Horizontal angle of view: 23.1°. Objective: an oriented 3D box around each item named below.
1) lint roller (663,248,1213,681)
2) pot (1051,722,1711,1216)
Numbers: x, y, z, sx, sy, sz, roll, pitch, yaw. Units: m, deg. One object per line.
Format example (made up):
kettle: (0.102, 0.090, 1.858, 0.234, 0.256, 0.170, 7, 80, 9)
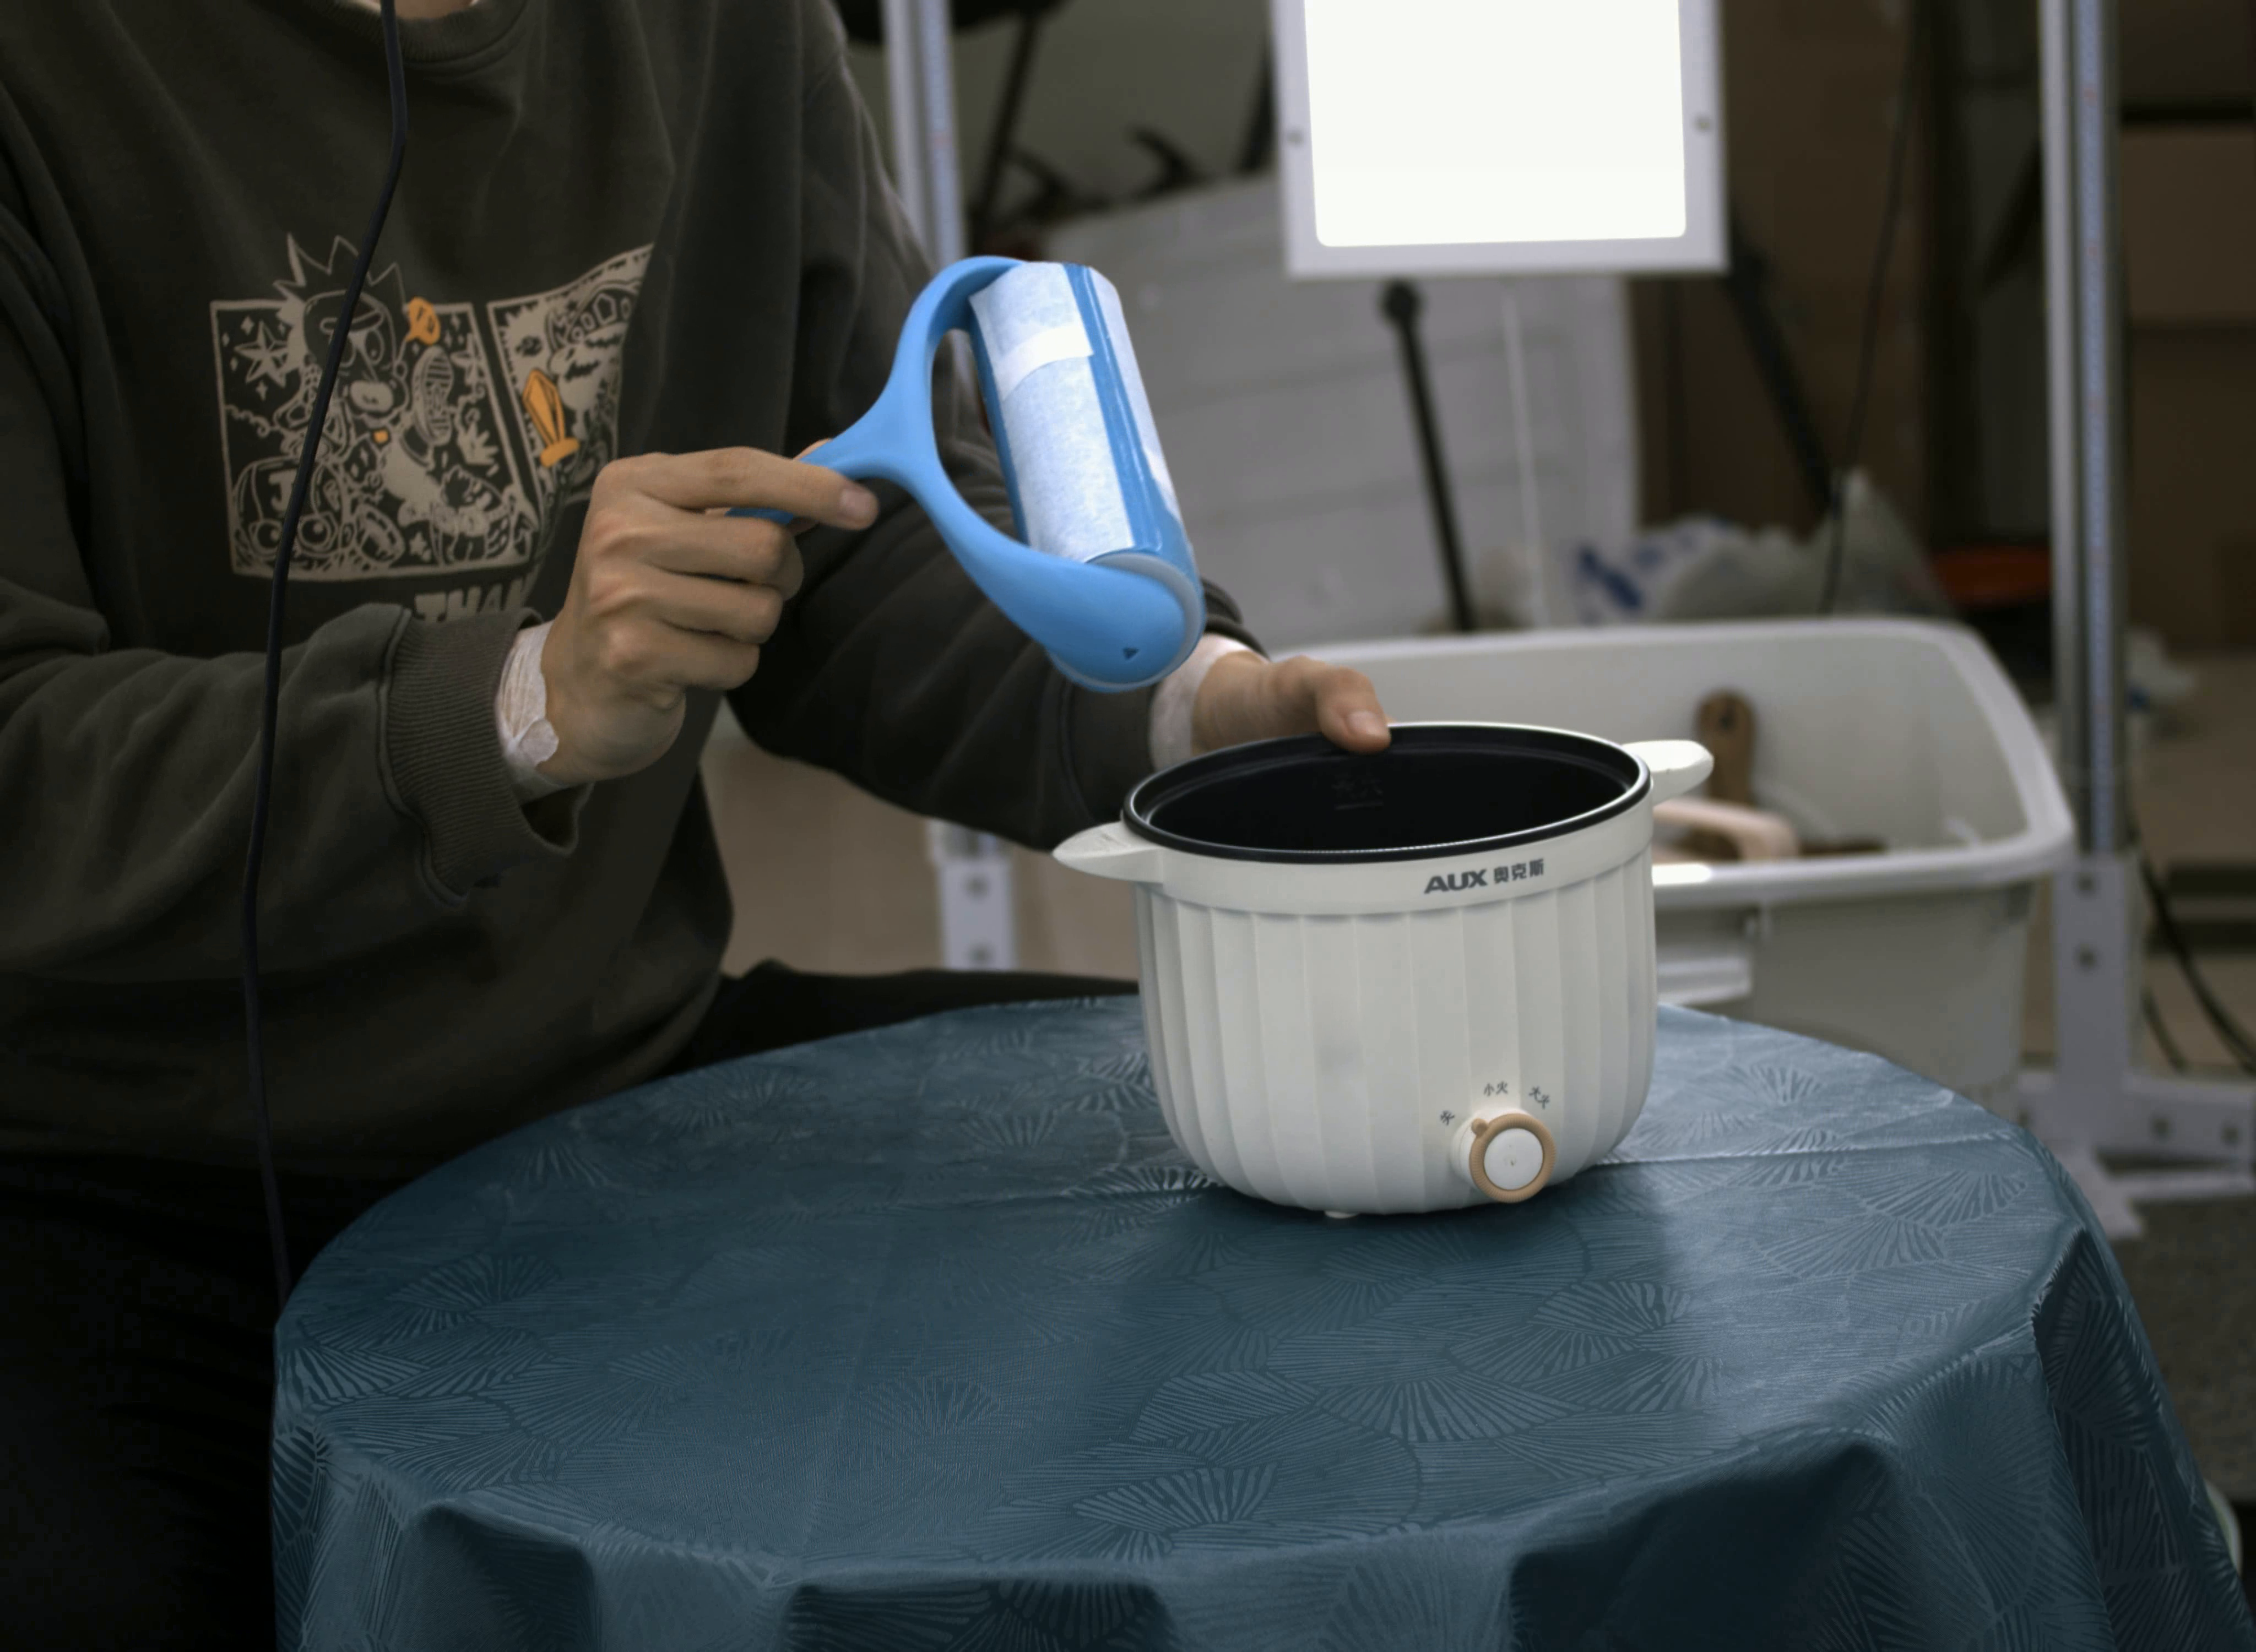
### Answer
lint roller: (-0.071, -0.107, 1.816, 0.179, 0.068, 0.229, -15, 37, -1)
pot: (0.096, 0.050, 1.880, 0.237, 0.143, 0.192, -10, 12, -15)
